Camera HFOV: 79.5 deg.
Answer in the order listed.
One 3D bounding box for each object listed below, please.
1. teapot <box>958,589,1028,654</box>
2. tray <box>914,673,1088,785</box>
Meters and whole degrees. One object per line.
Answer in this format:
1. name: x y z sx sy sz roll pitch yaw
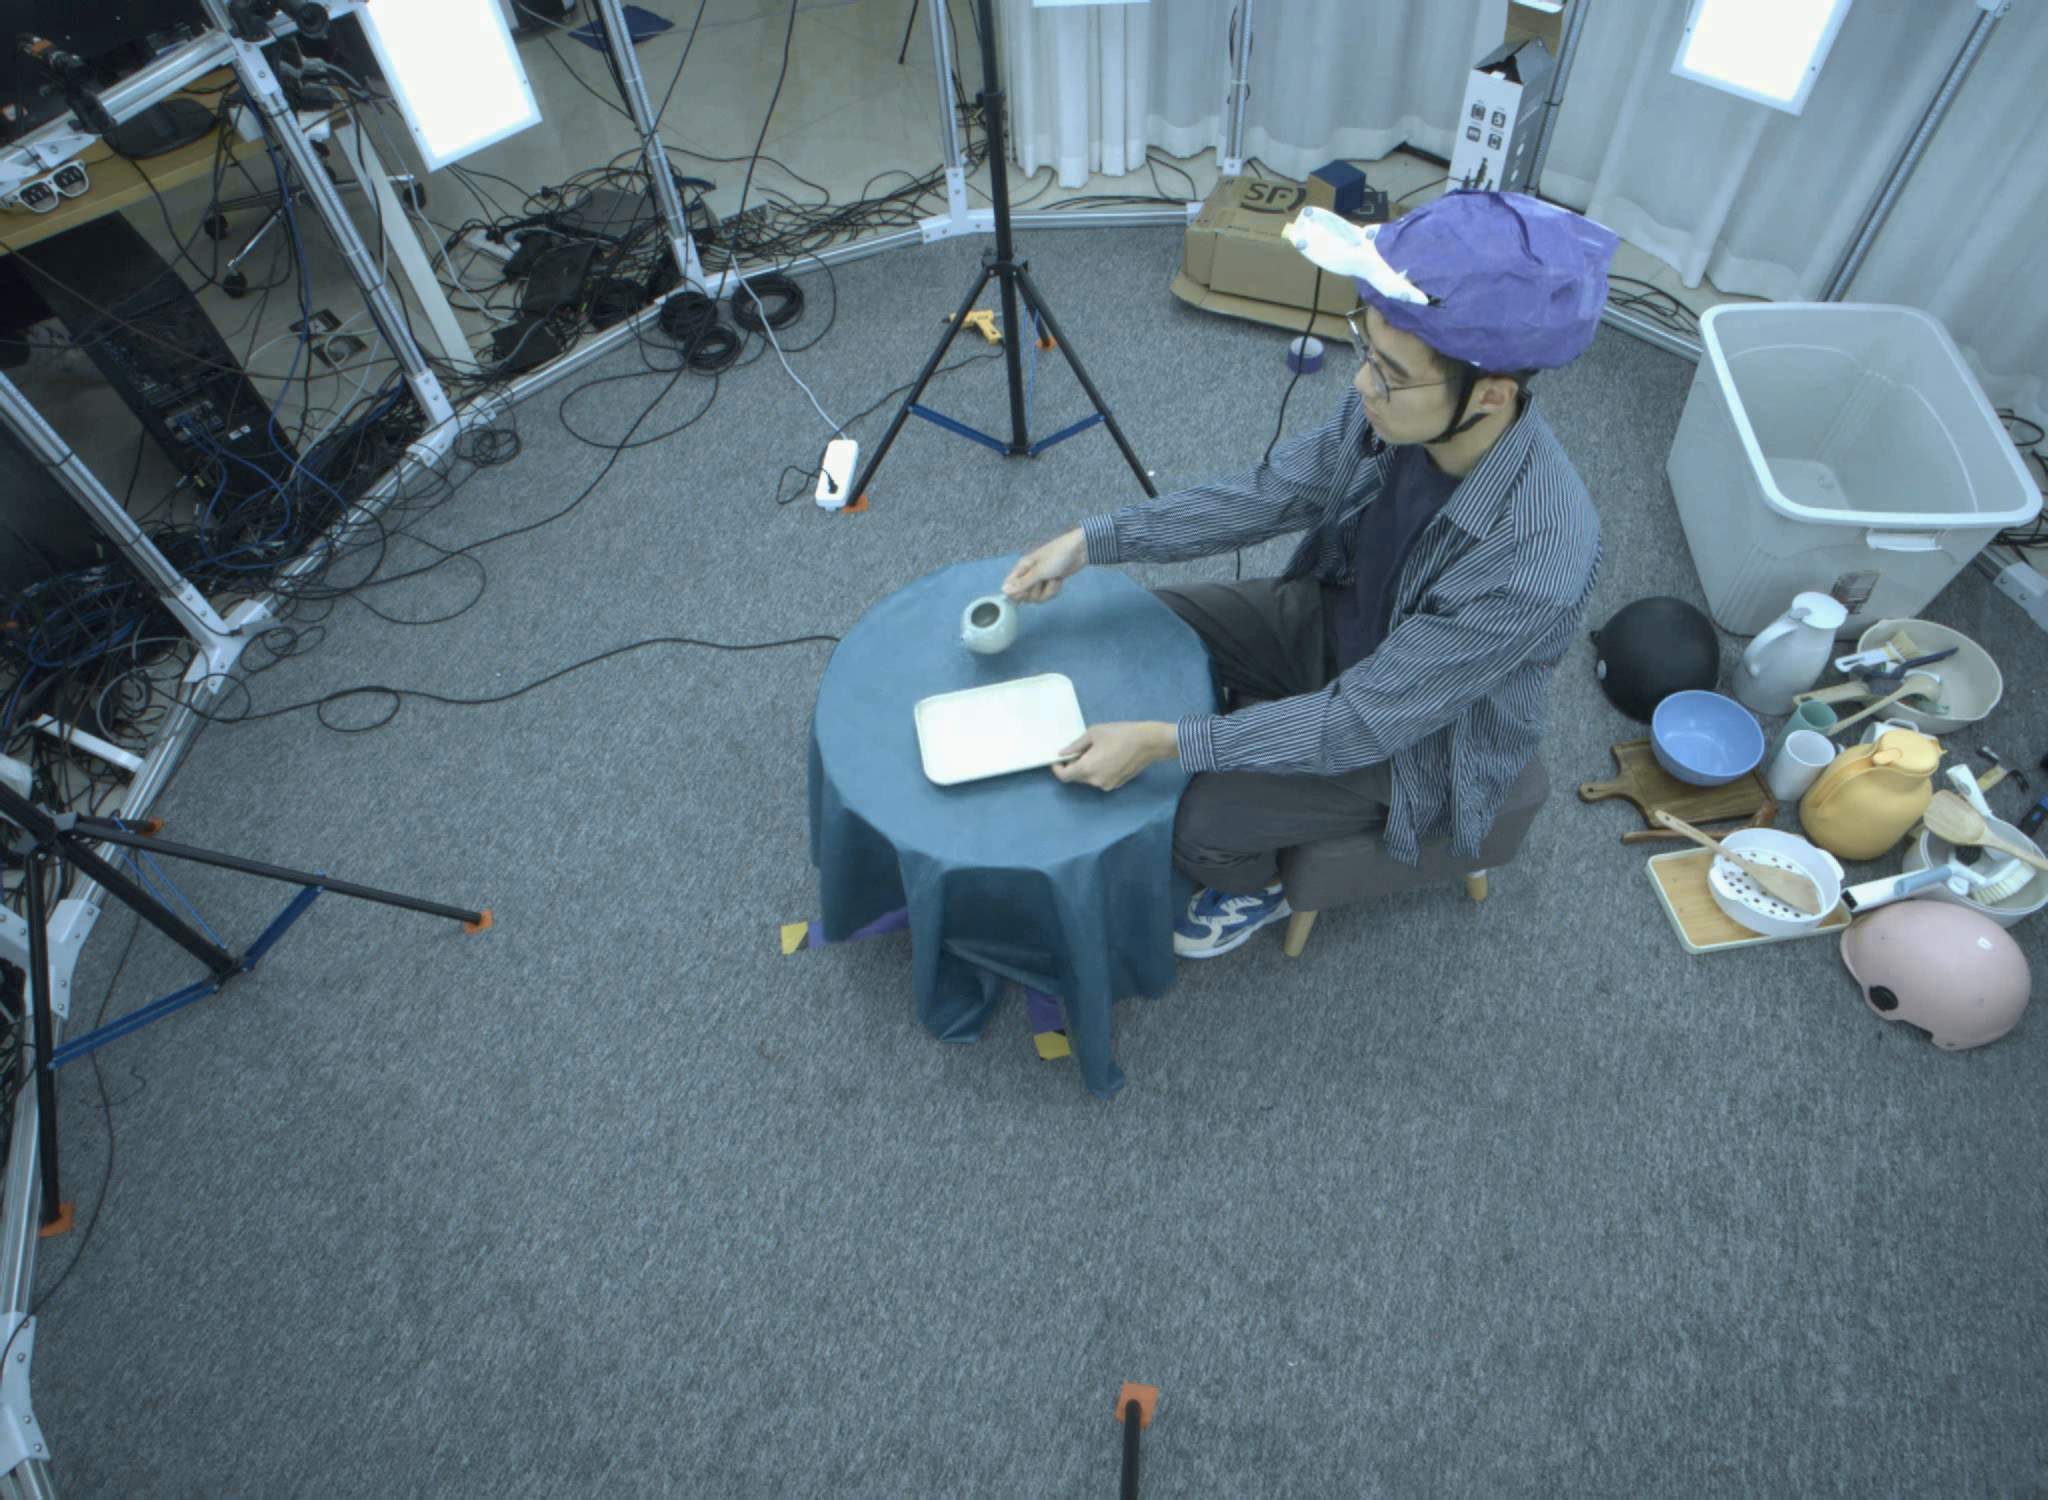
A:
1. teapot: -0.045 -0.196 1.864 0.129 0.062 0.089 -42 56 -9
2. tray: -0.035 -0.031 1.797 0.240 0.018 0.168 -11 52 -5
